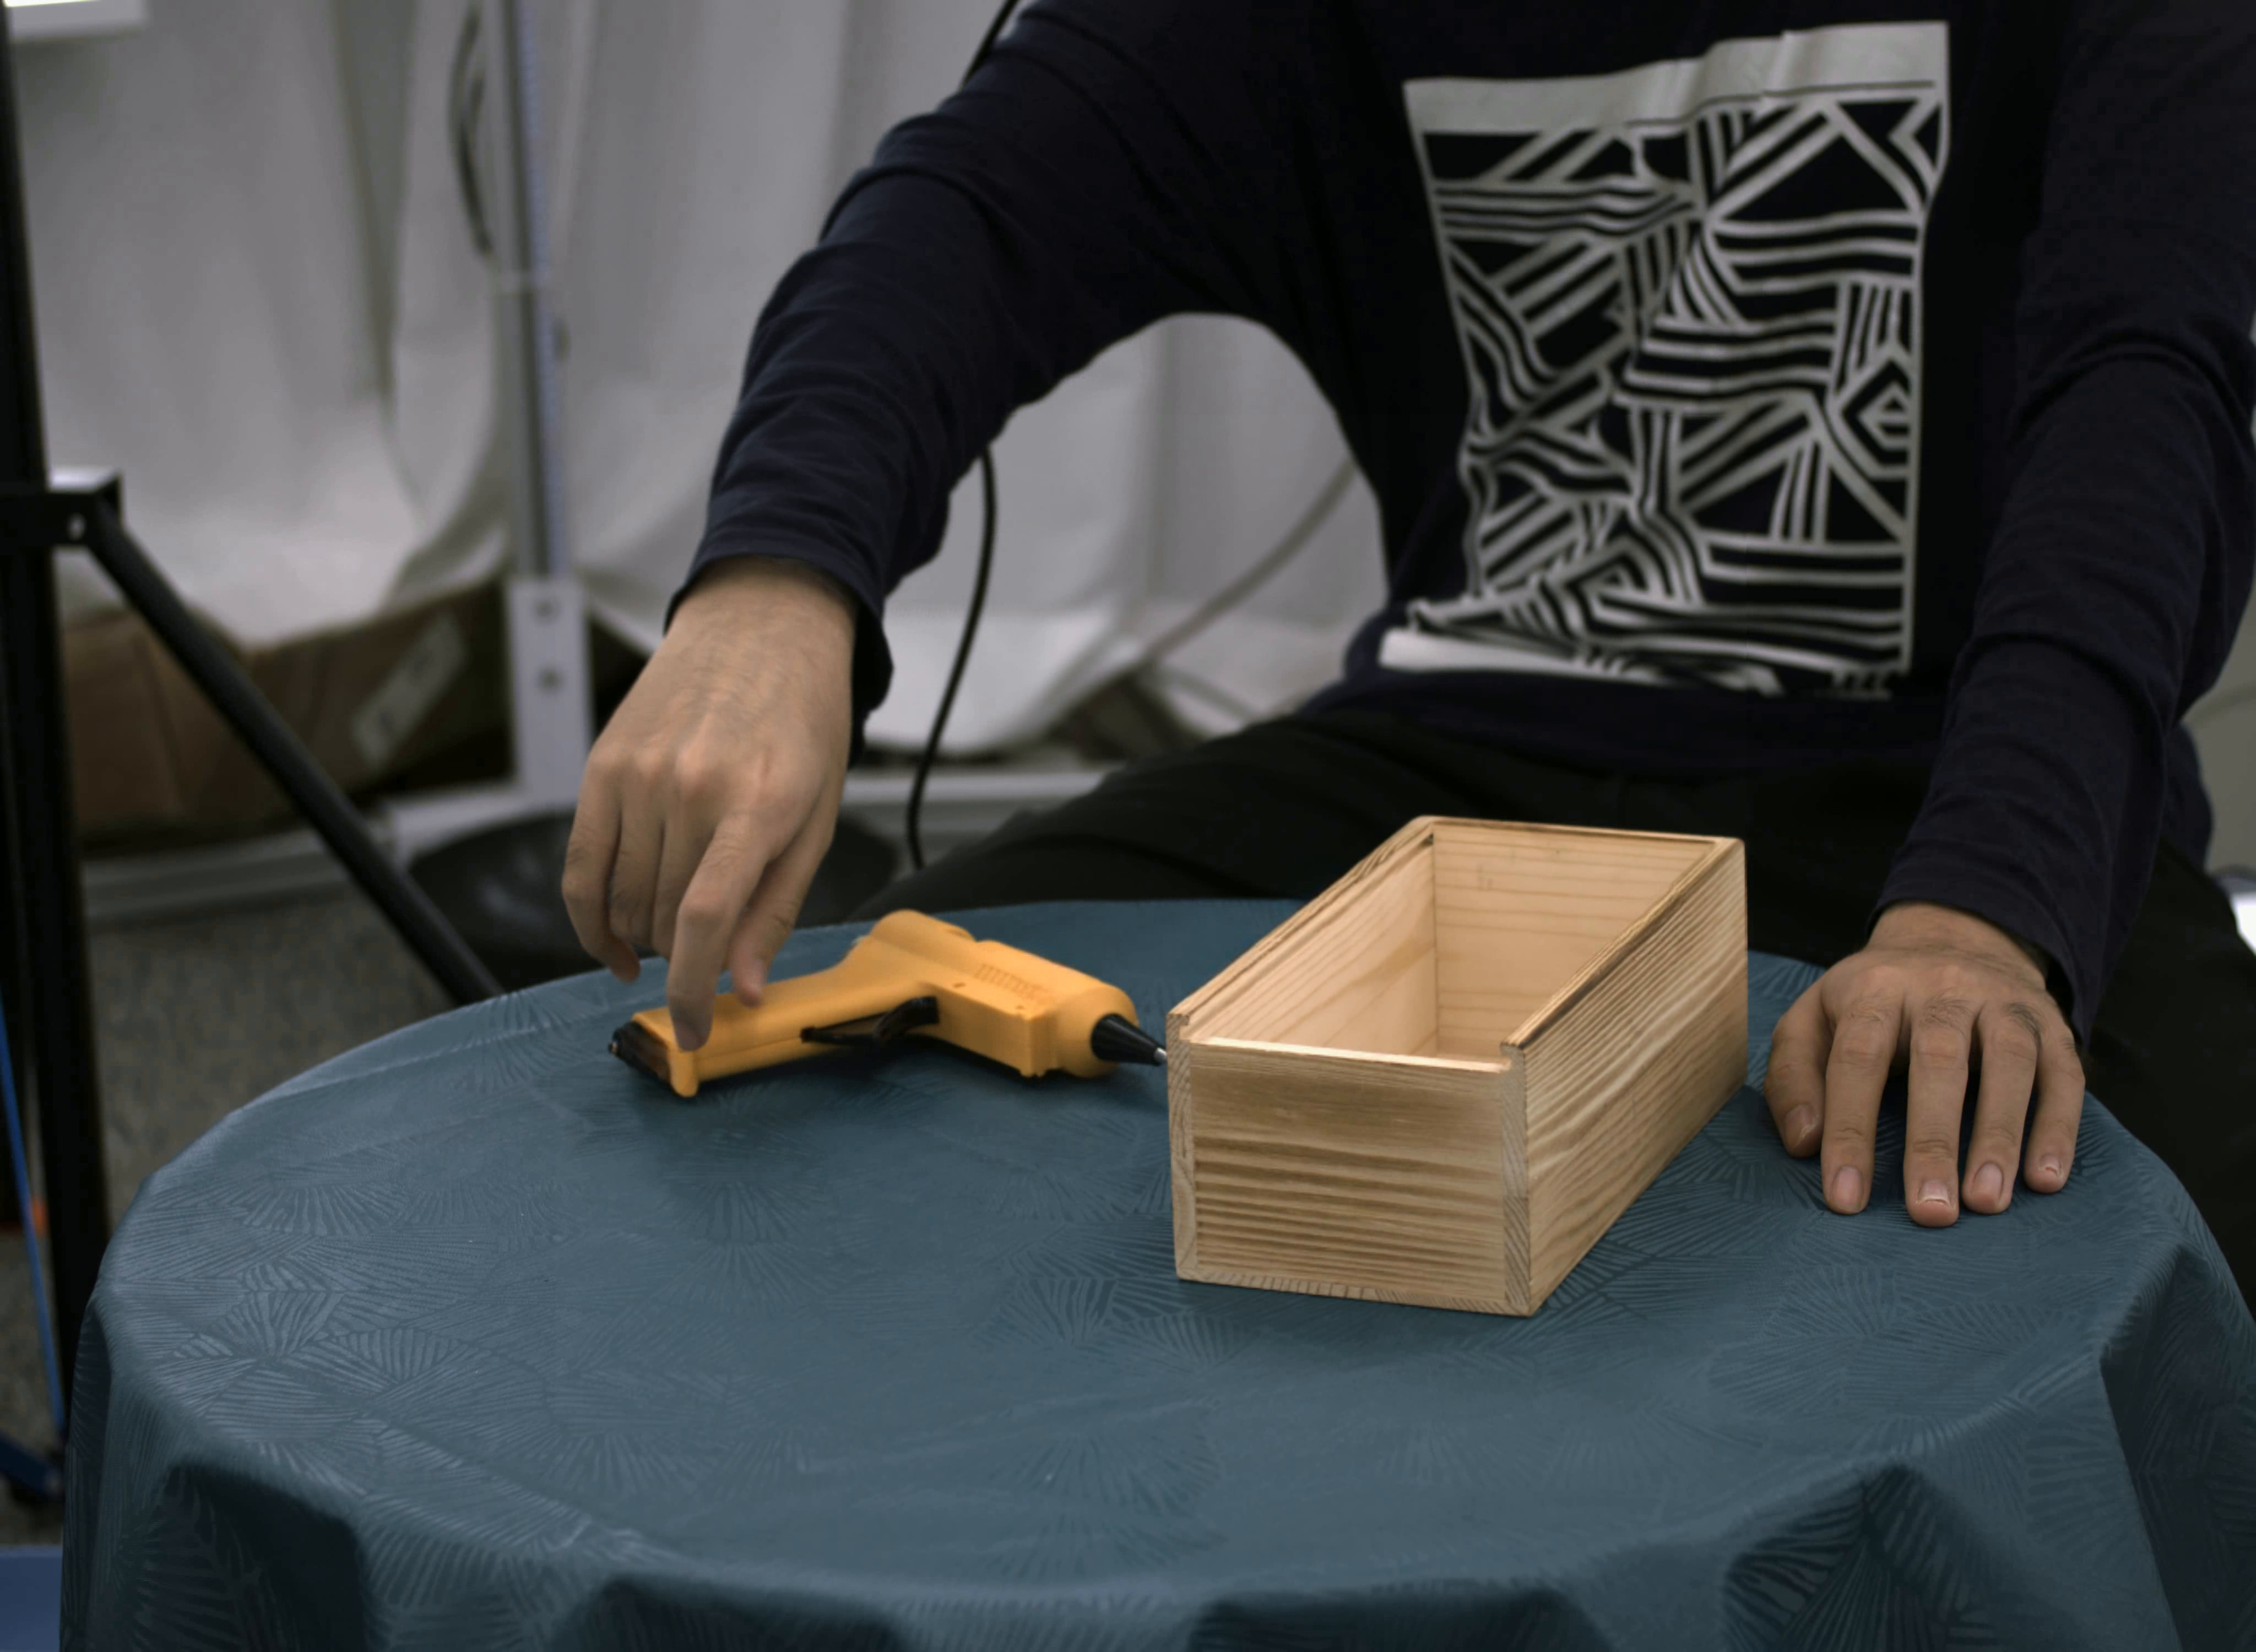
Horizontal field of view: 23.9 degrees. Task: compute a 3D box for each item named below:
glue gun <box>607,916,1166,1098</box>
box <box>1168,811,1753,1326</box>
[{"bbox_3d":[-0.067,0.068,1.663,0.130,0.031,0.155,-17,21,-38],"label":"glue gun"},{"bbox_3d":[0.101,0.066,1.543,0.109,0.080,0.208,5,18,23],"label":"box"}]
